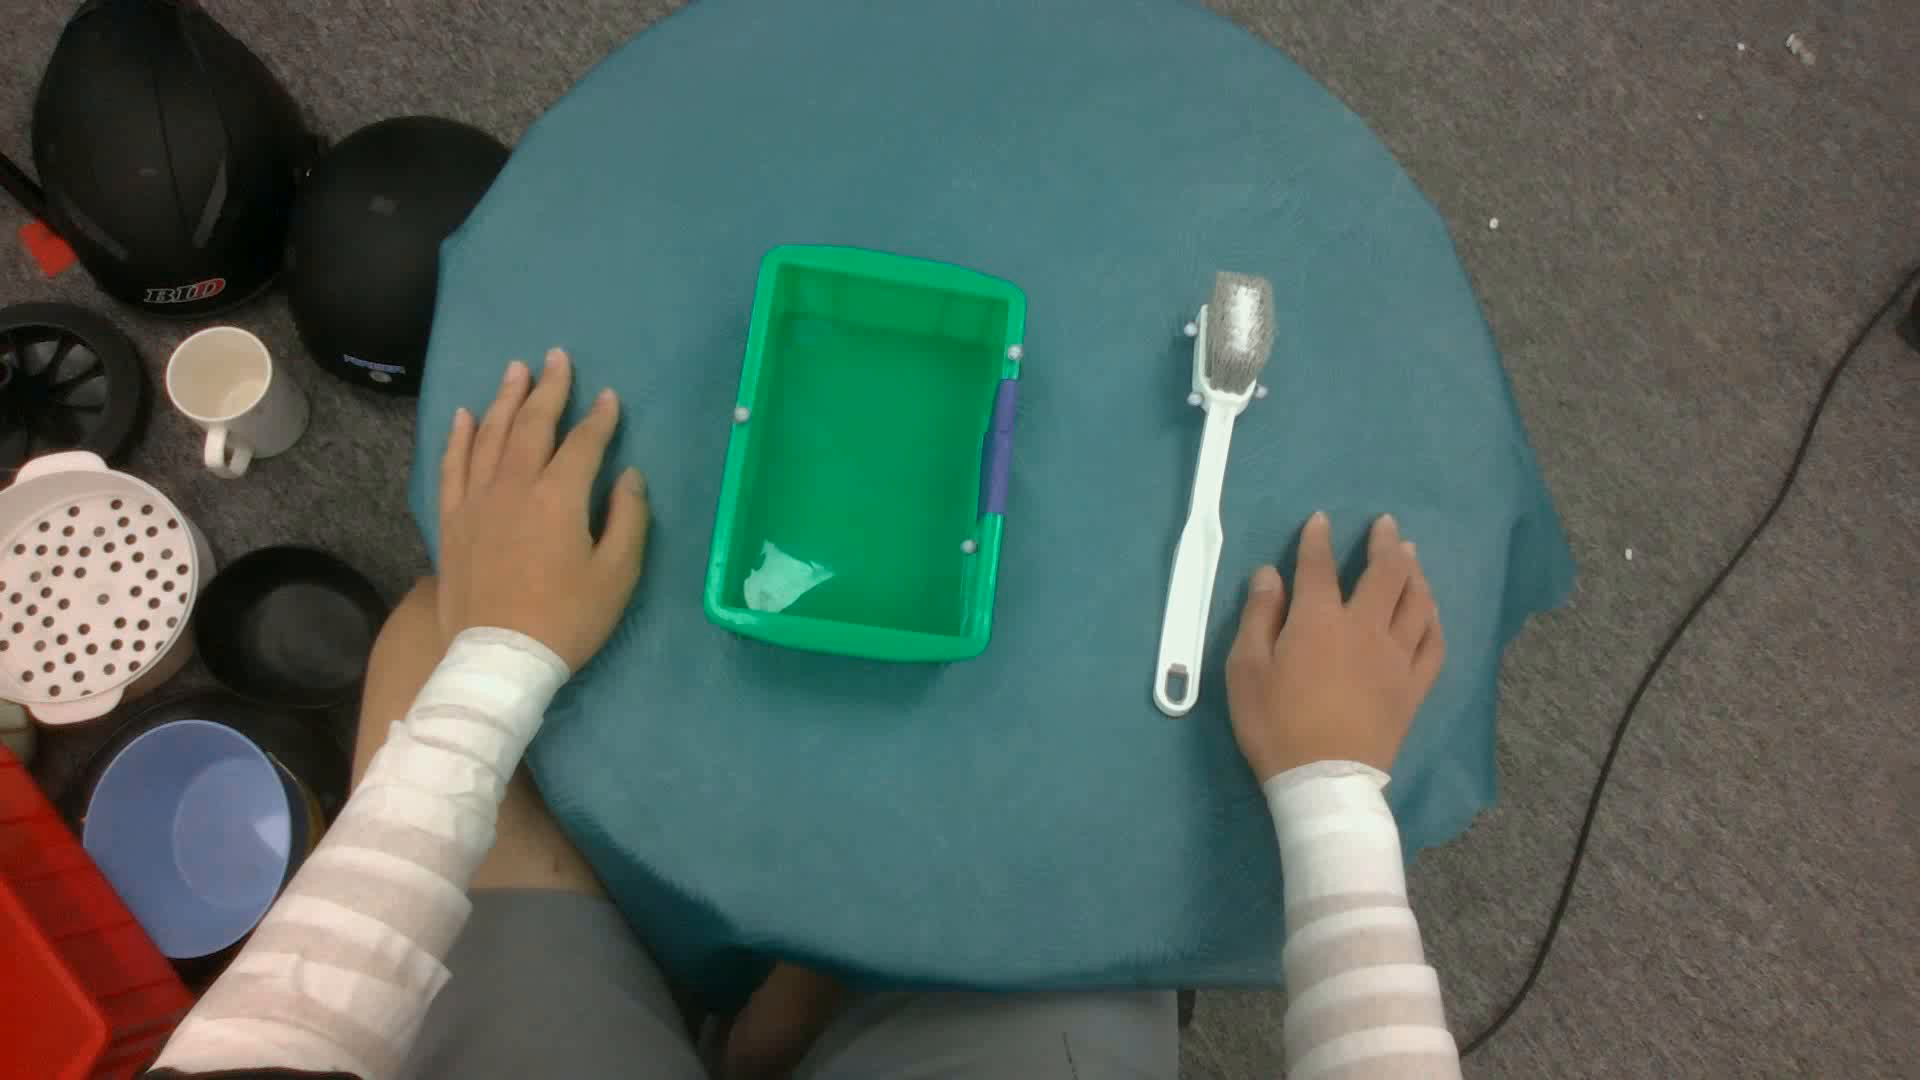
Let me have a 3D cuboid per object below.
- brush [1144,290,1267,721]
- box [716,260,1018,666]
[{"bbox_3d":[0.133,-0.024,0.745,0.034,0.050,0.244,13,72,-4],"label":"brush"},{"bbox_3d":[-0.047,-0.036,0.720,0.139,0.065,0.211,7,71,-8],"label":"box"}]
